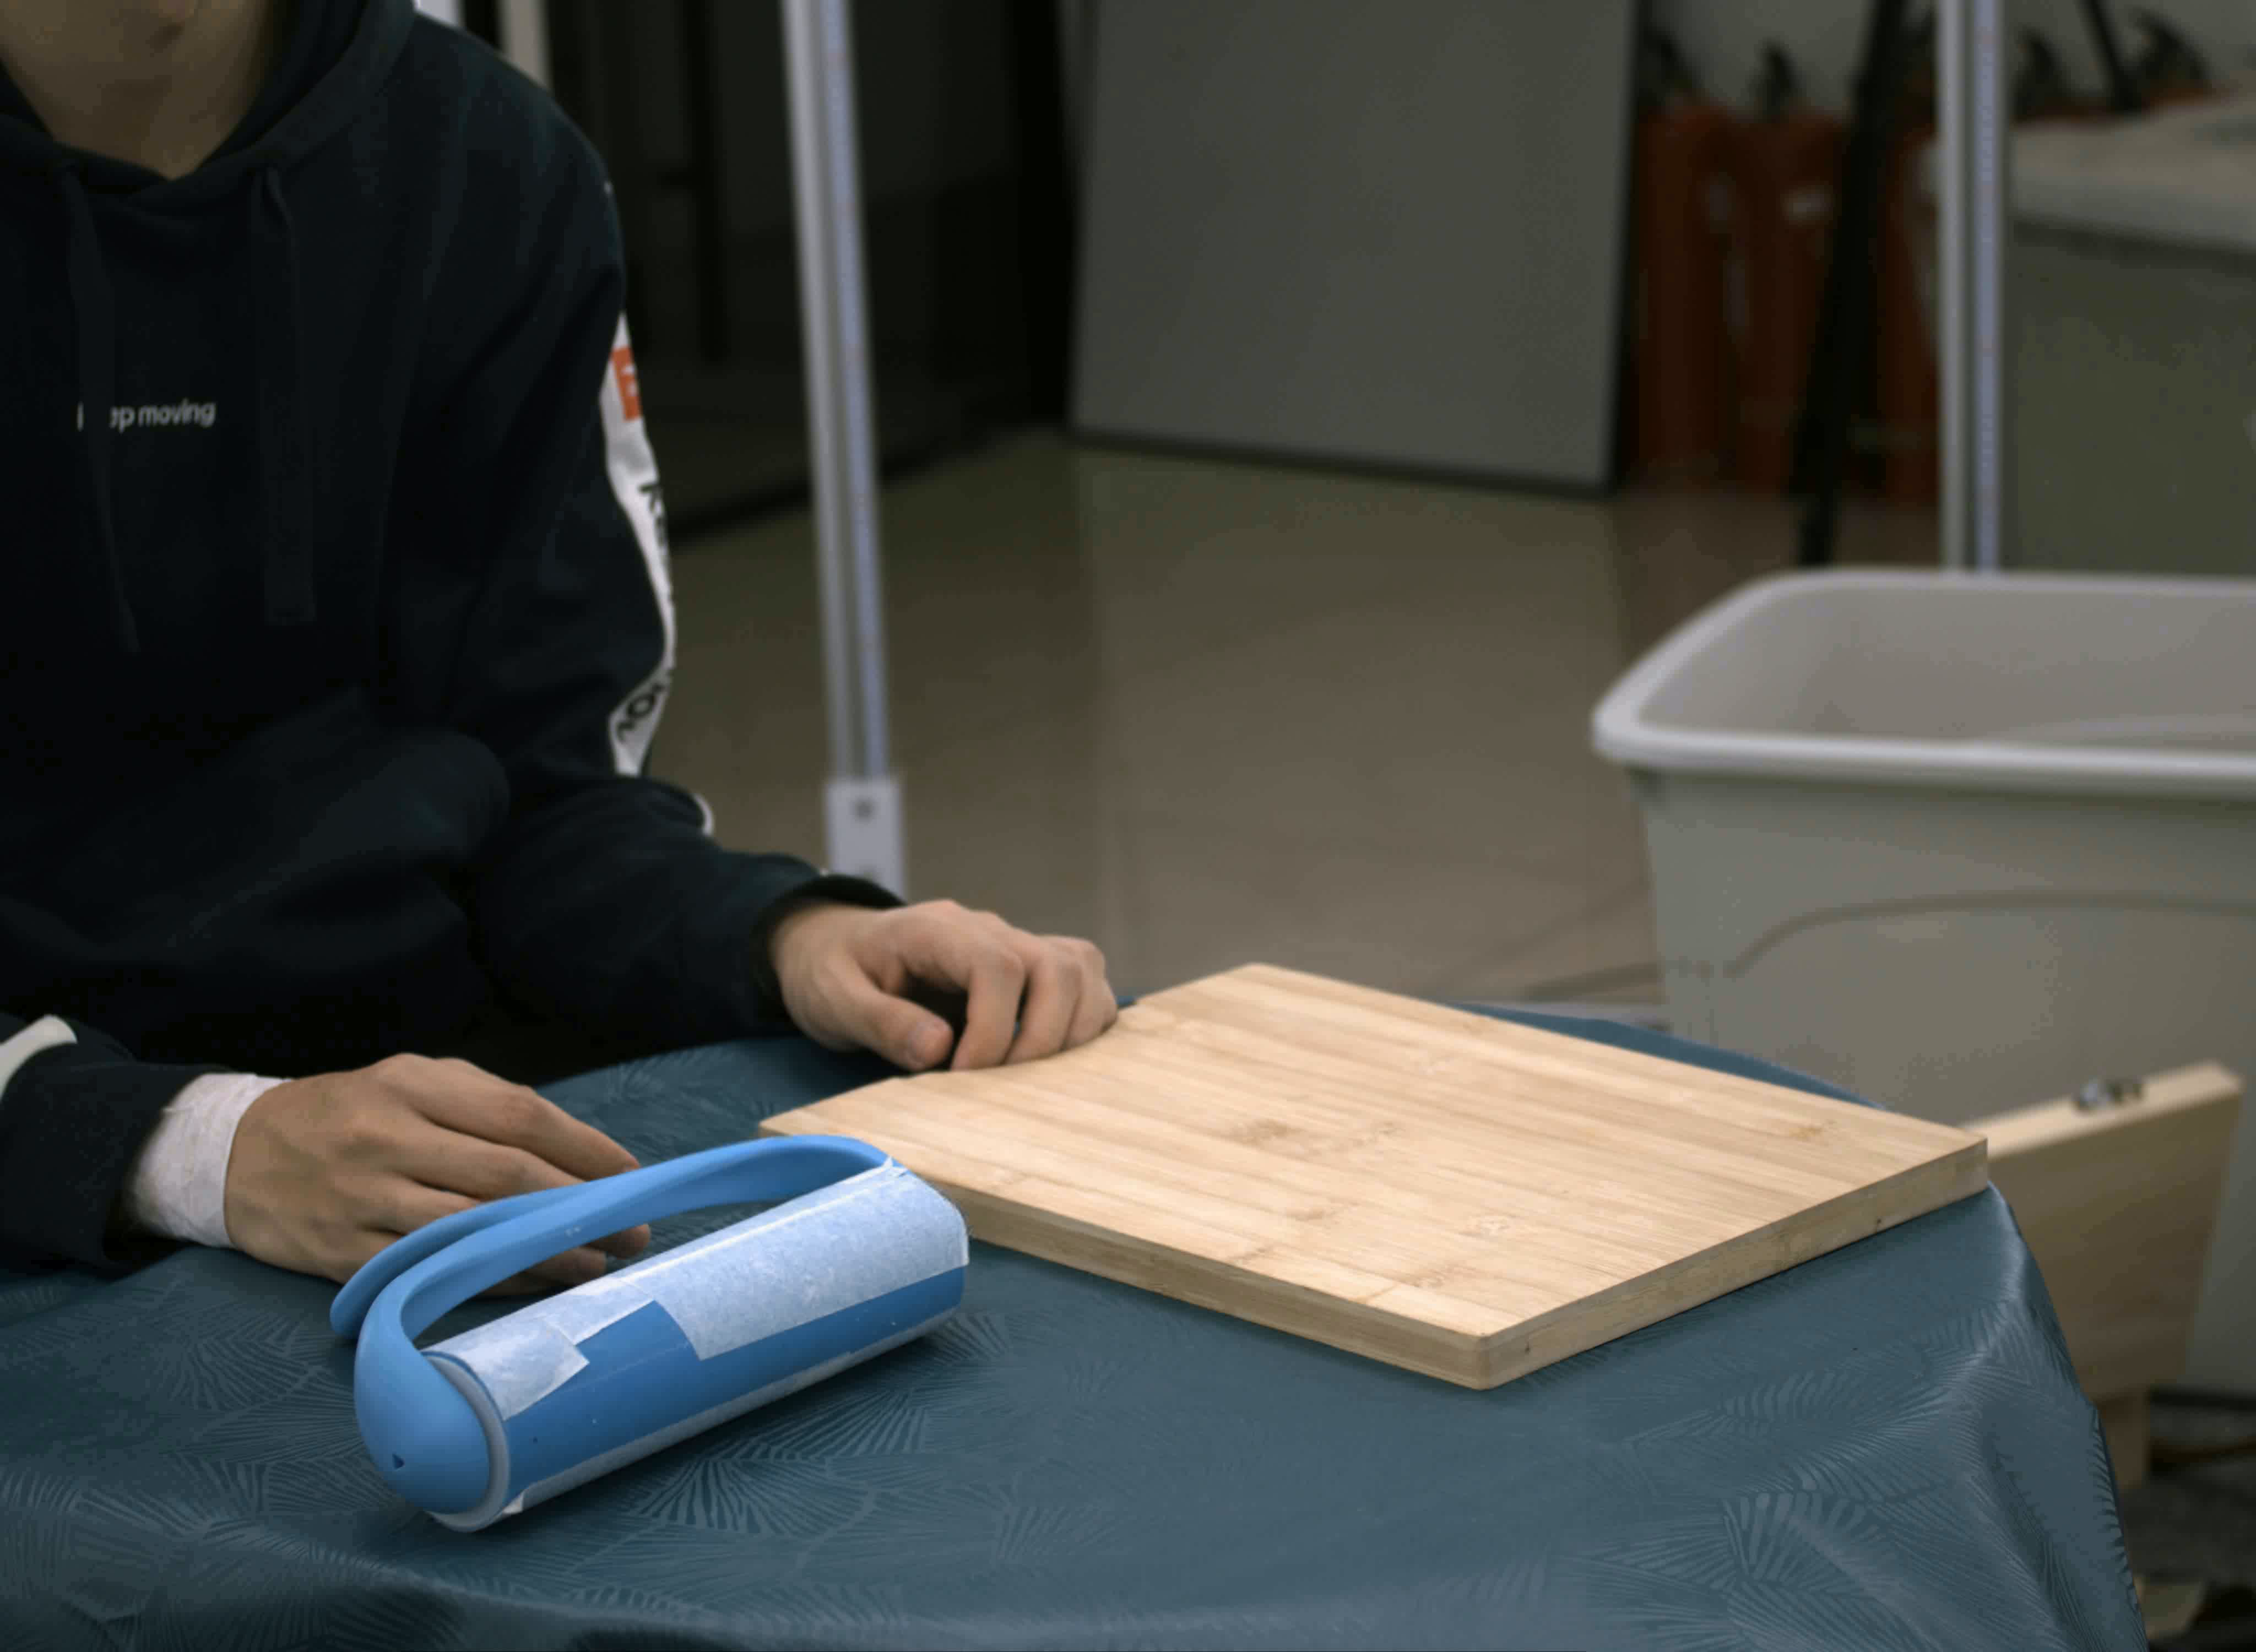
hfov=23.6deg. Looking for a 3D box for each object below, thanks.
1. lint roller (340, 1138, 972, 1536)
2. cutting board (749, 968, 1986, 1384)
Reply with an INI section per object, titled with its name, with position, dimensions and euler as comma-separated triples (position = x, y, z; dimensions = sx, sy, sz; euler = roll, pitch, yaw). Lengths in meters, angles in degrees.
[lint roller]
position = -0.174, 0.143, 1.613
dimensions = 0.181, 0.068, 0.225
euler = 8, 19, 38
[cutting board]
position = 0.073, 0.109, 1.767
dimensions = 0.245, 0.024, 0.352
euler = -16, 18, -40
